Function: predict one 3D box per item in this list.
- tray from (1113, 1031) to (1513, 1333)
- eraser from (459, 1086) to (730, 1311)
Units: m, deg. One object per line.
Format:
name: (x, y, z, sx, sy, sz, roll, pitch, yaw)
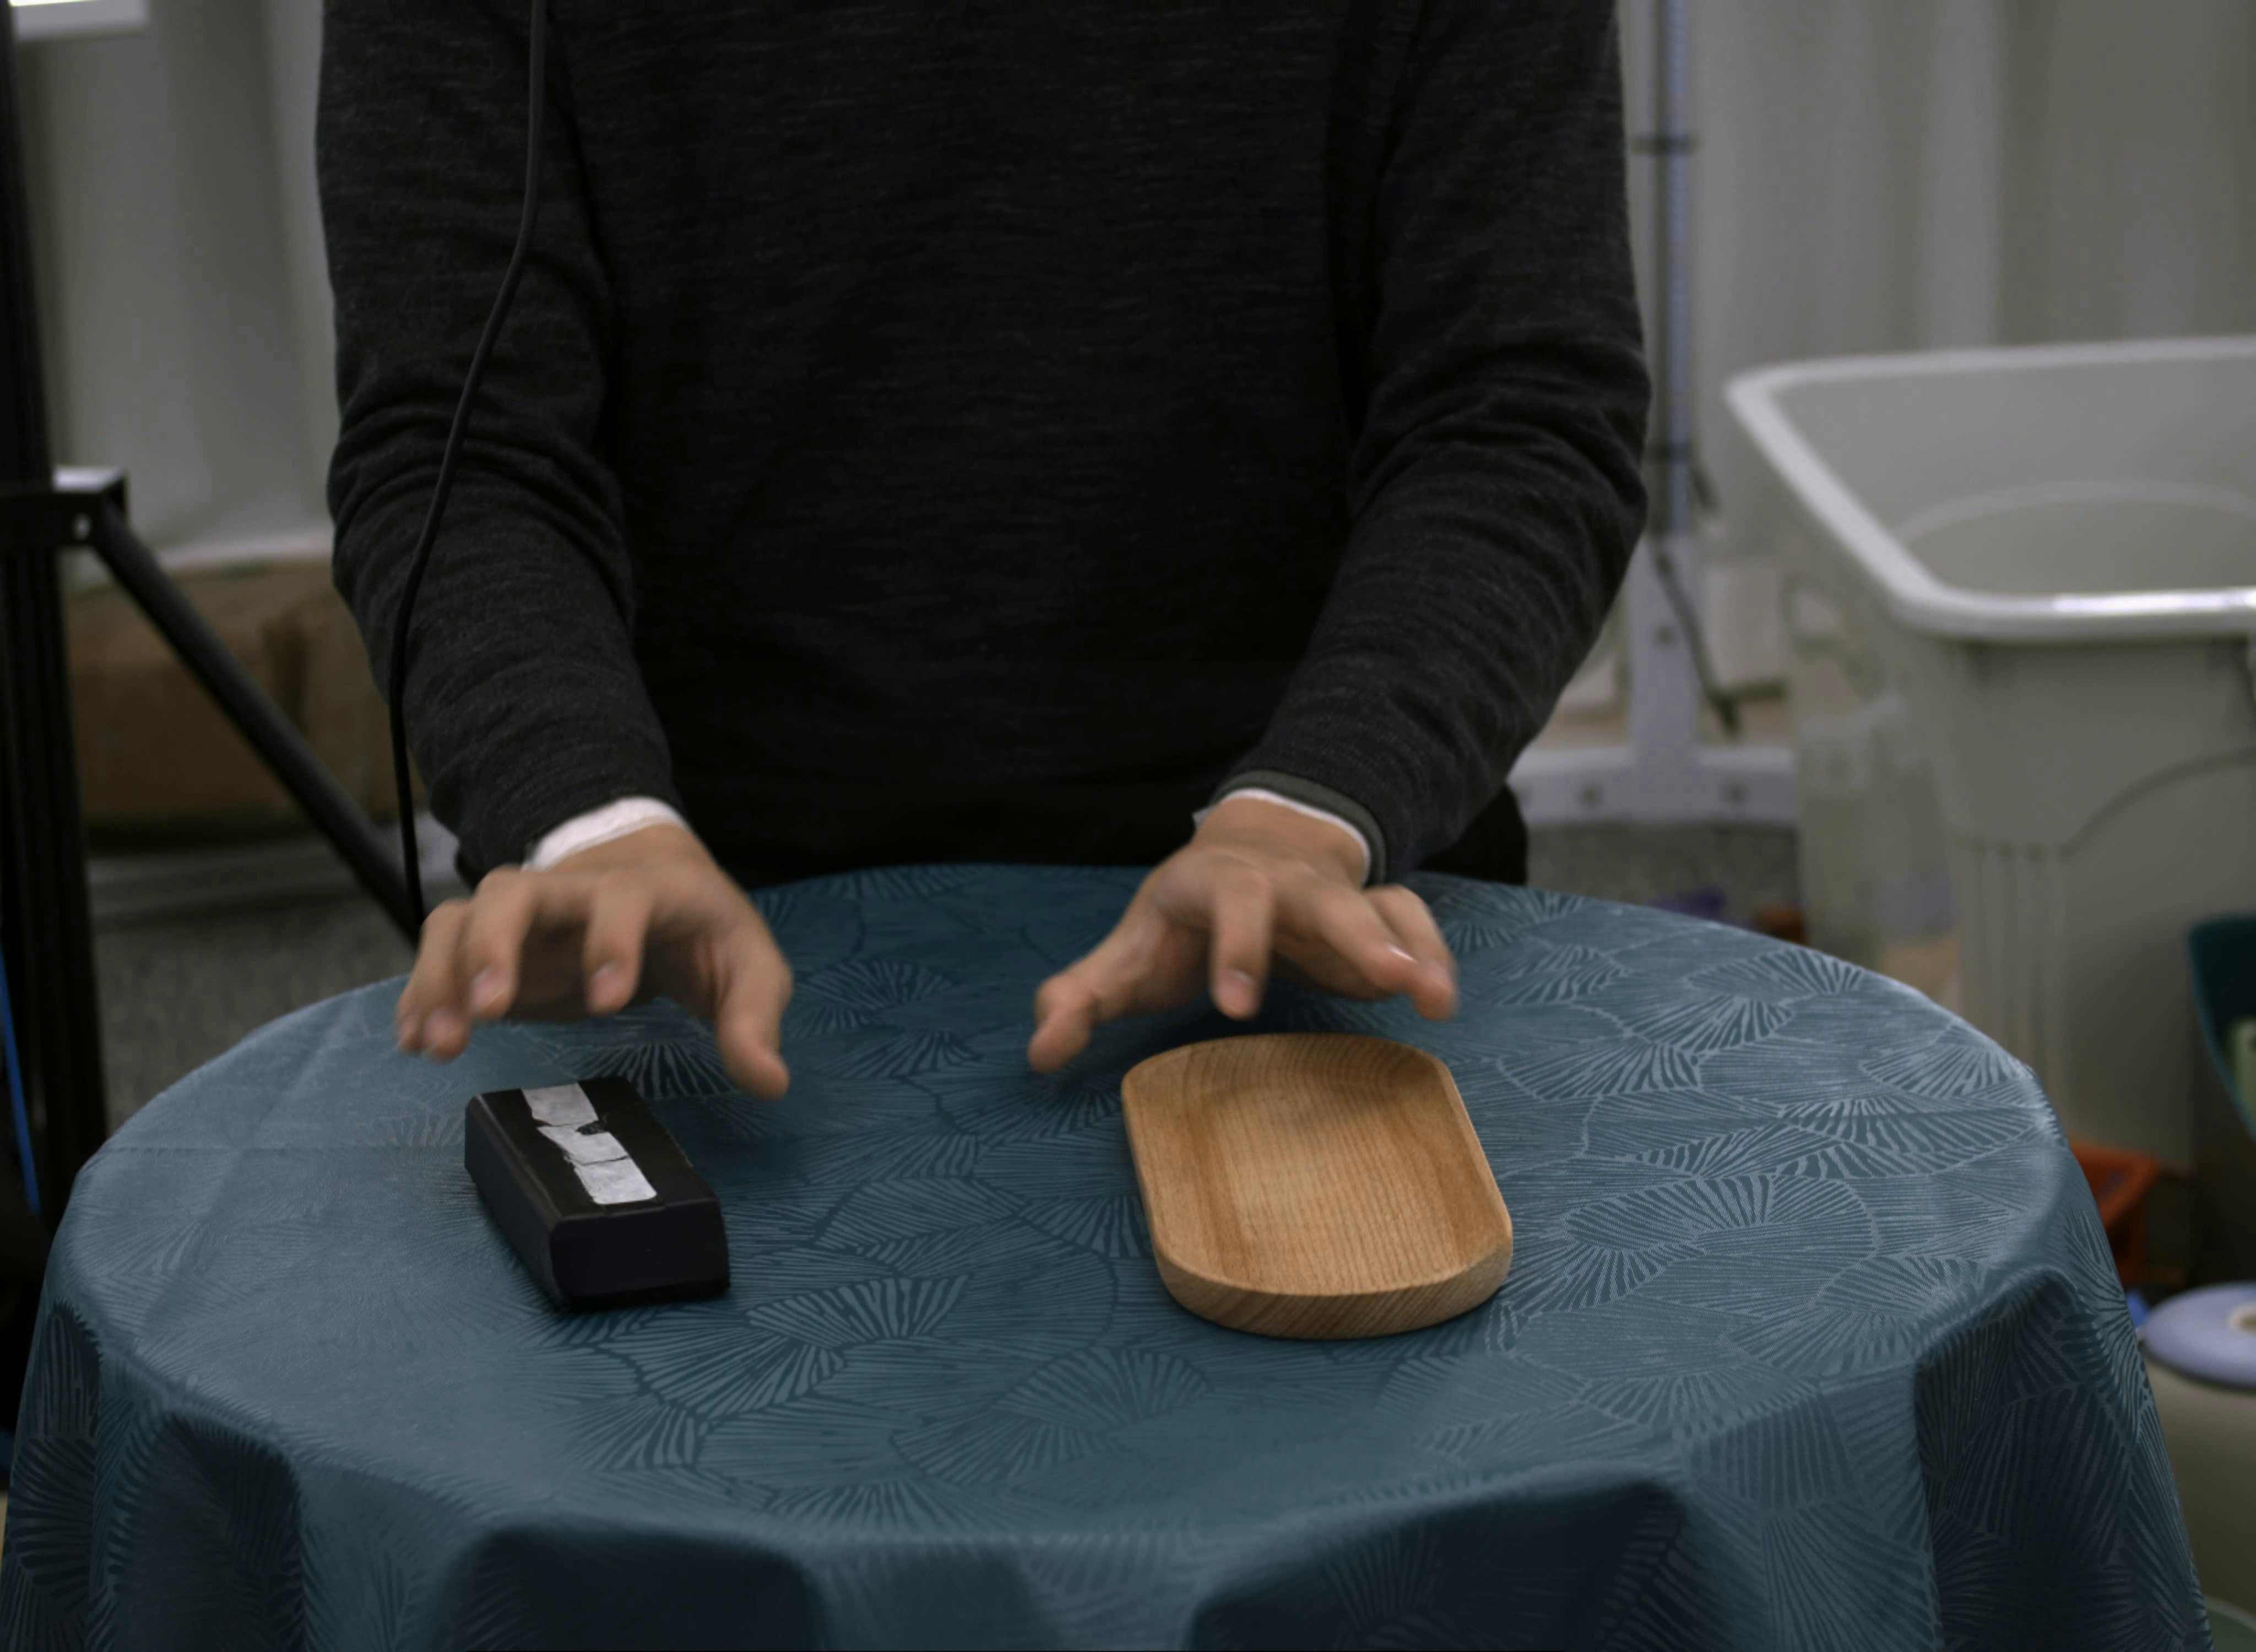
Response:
tray: (0.052, 0.101, 1.543, 0.101, 0.020, 0.233, -2, 14, -4)
eraser: (-0.154, 0.106, 1.537, 0.052, 0.030, 0.127, -5, 15, -17)
